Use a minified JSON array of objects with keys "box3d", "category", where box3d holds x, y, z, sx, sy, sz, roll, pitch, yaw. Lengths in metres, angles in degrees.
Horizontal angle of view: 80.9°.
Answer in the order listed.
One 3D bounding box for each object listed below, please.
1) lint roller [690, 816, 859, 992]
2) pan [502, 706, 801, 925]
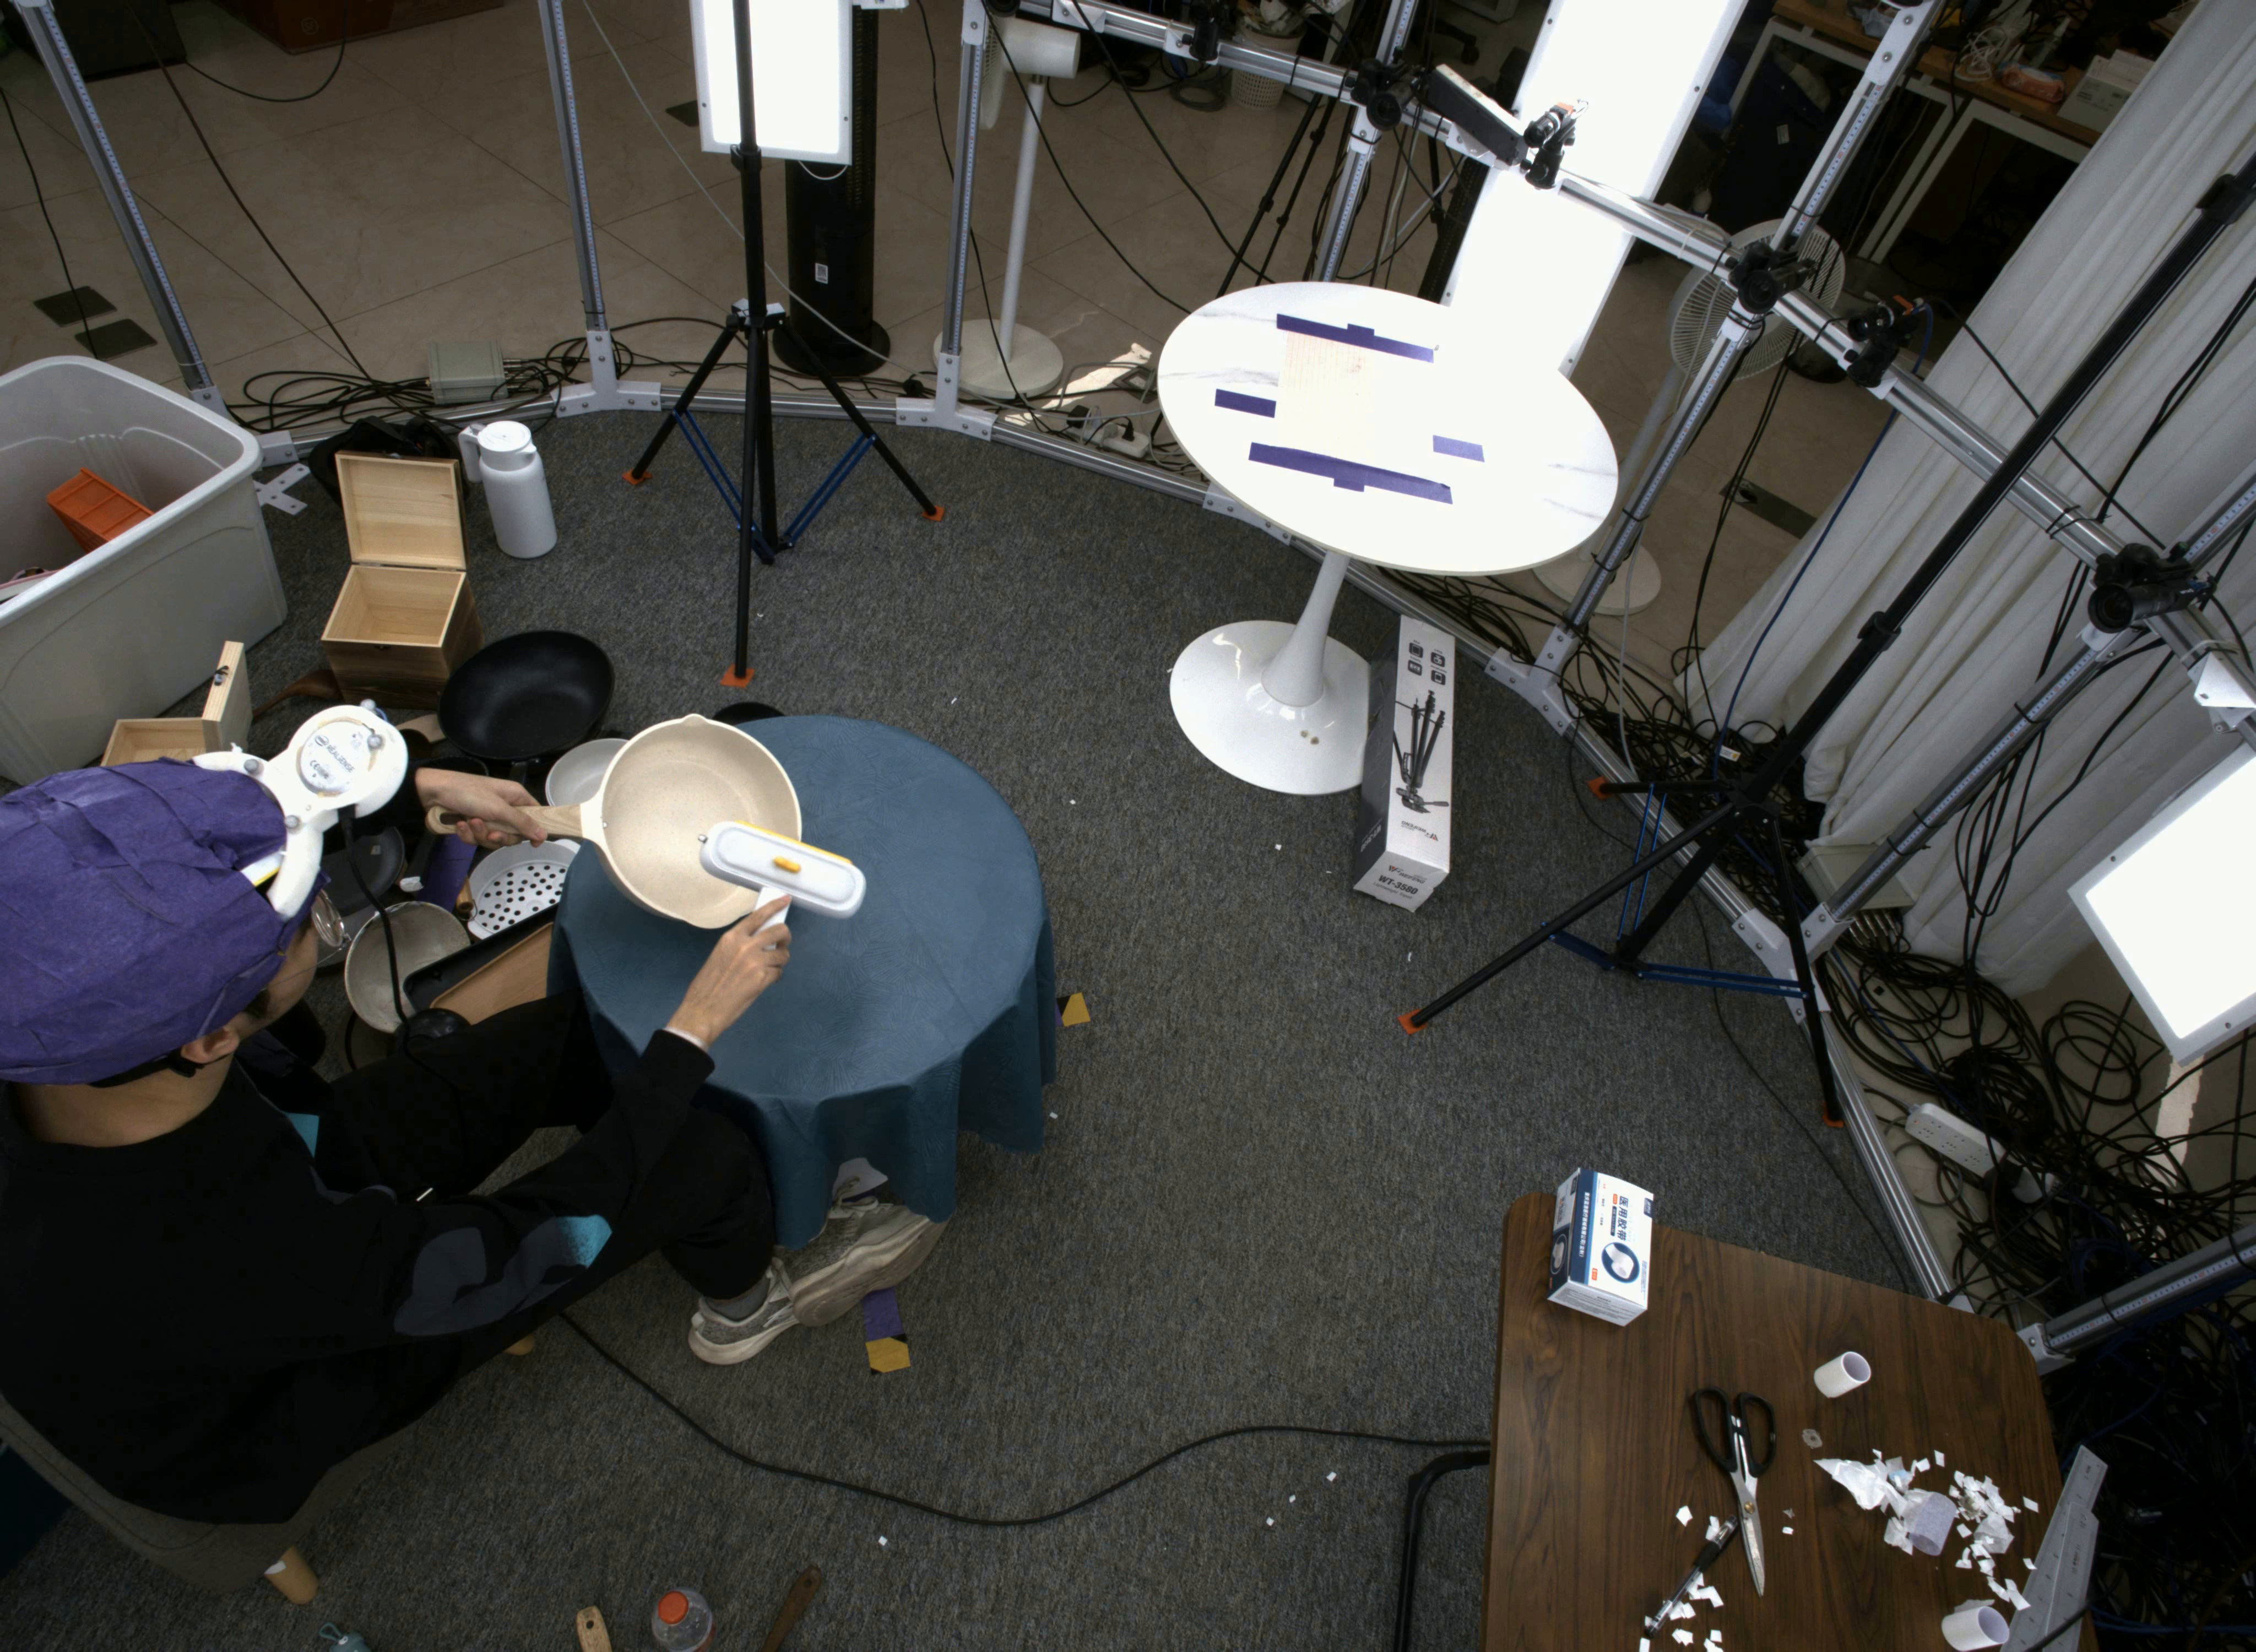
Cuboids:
[{"box3d":[-0.408,0.096,1.460,0.197,0.073,0.191,21,63,-26],"category":"lint roller"},{"box3d":[-0.601,-0.006,1.508,0.442,0.099,0.265,-3,84,-39],"category":"pan"}]
